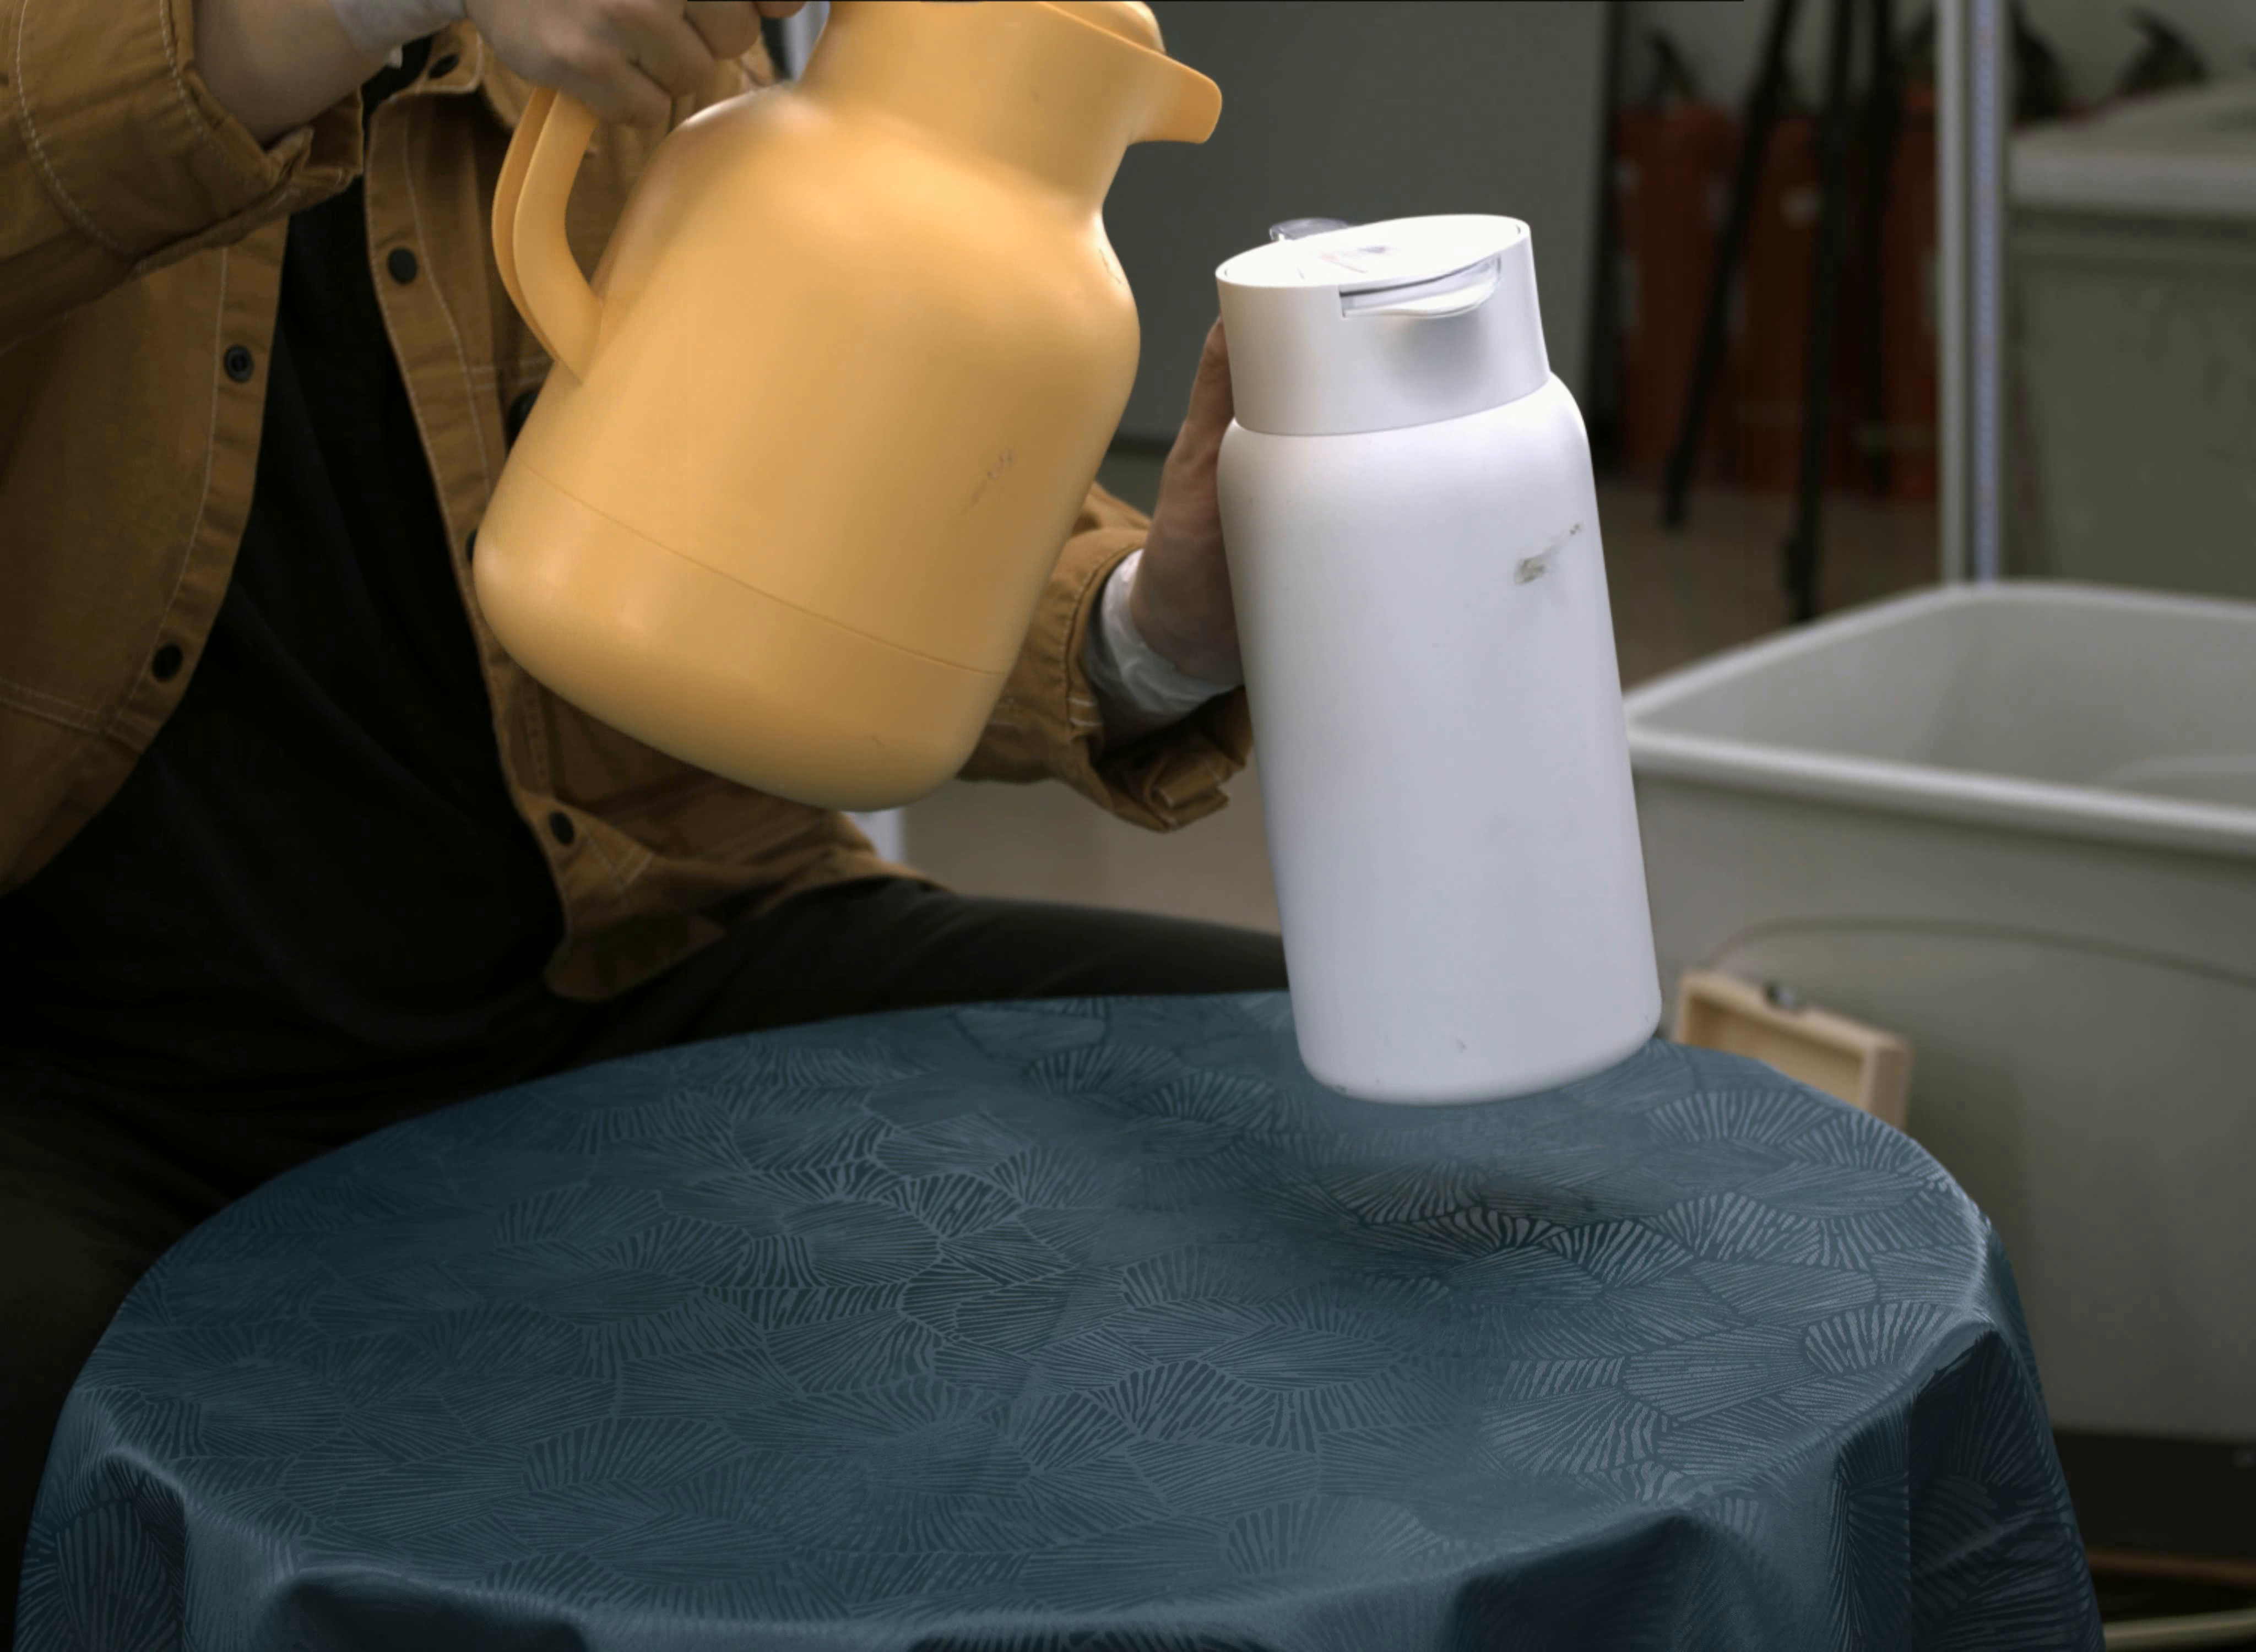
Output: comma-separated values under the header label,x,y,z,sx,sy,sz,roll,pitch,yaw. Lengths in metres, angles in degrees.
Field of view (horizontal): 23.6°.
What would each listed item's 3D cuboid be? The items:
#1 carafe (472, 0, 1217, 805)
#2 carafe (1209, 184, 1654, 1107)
label,x,y,z,sx,sy,sz,roll,pitch,yaw
carafe,-0.096,-0.155,1.590,0.198,0.263,0.165,22,5,-22
carafe,0.085,-0.059,1.697,0.121,0.271,0.174,-15,15,-15
